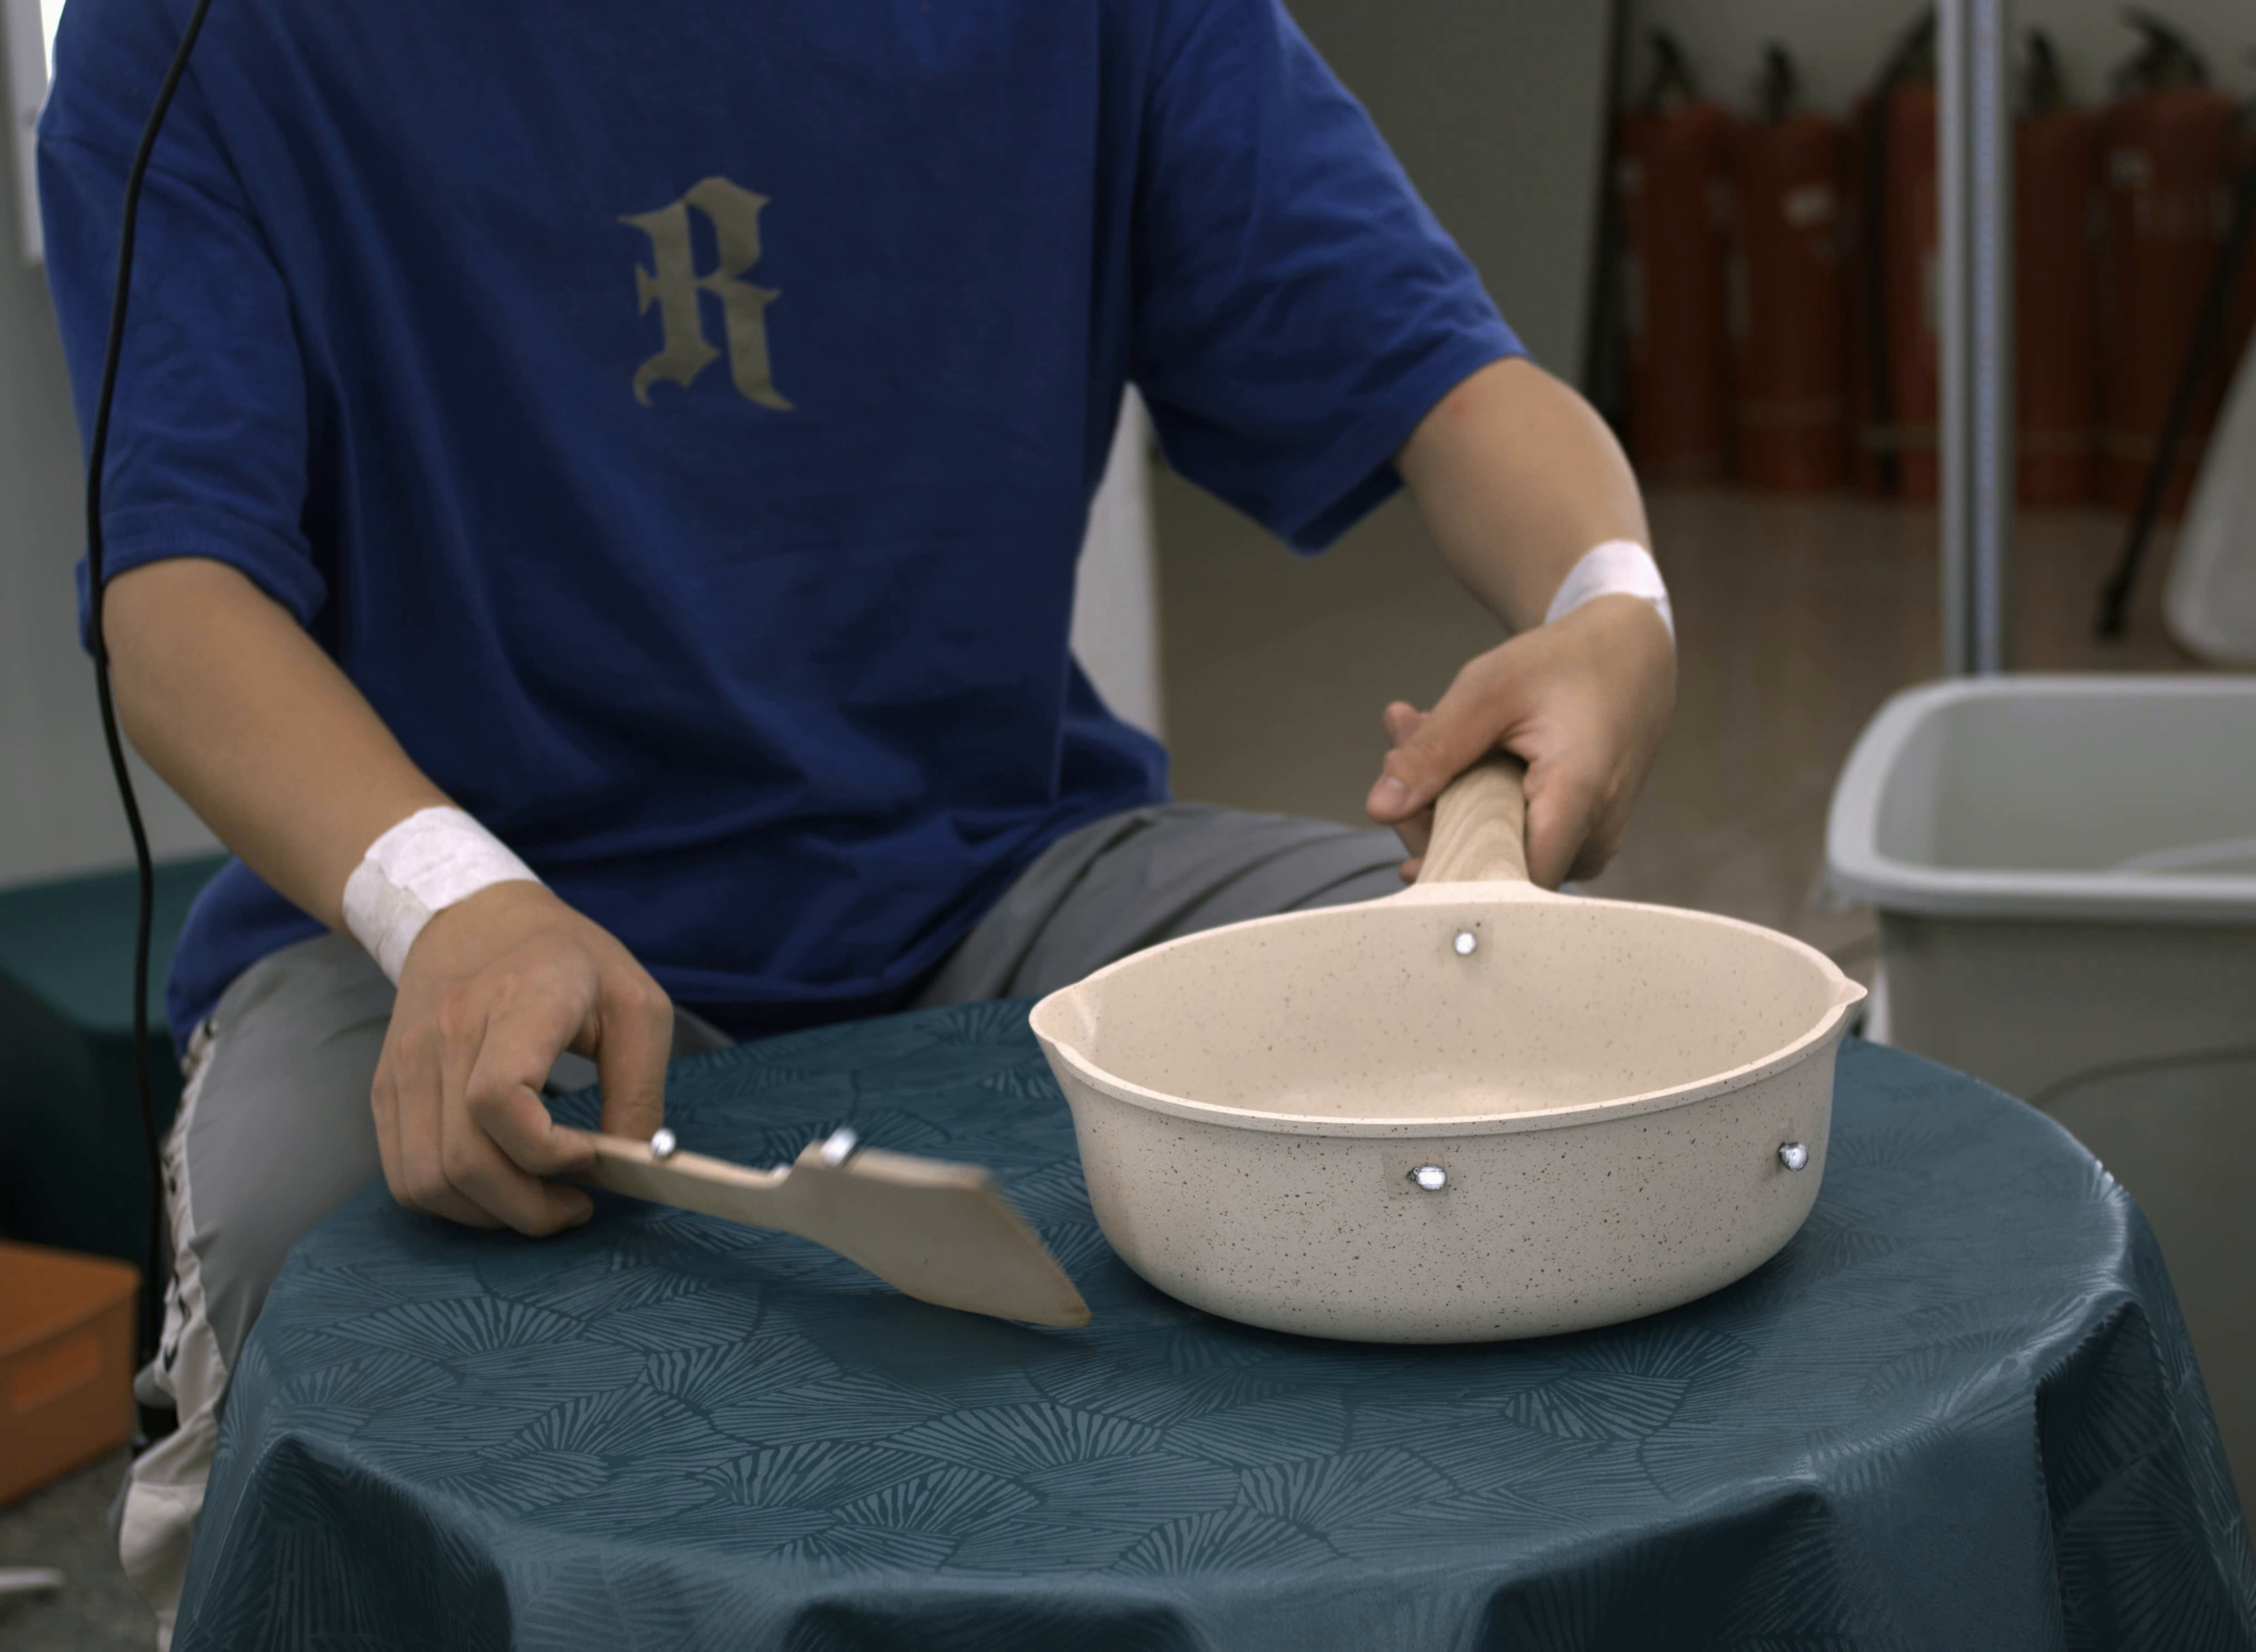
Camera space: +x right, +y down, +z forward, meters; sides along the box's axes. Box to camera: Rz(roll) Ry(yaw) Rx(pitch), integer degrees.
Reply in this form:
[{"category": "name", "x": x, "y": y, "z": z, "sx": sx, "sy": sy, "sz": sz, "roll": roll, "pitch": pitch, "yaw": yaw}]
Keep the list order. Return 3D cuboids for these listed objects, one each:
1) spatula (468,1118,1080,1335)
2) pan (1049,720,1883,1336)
[{"category": "spatula", "x": -0.126, "y": 0.120, "z": 1.718, "sx": 0.296, "sy": 0.071, "sz": 0.011, "roll": 9, "pitch": 62, "yaw": 51}, {"category": "pan", "x": 0.115, "y": 0.062, "z": 1.770, "sx": 0.261, "sy": 0.103, "sz": 0.434, "roll": -4, "pitch": 13, "yaw": 7}]
